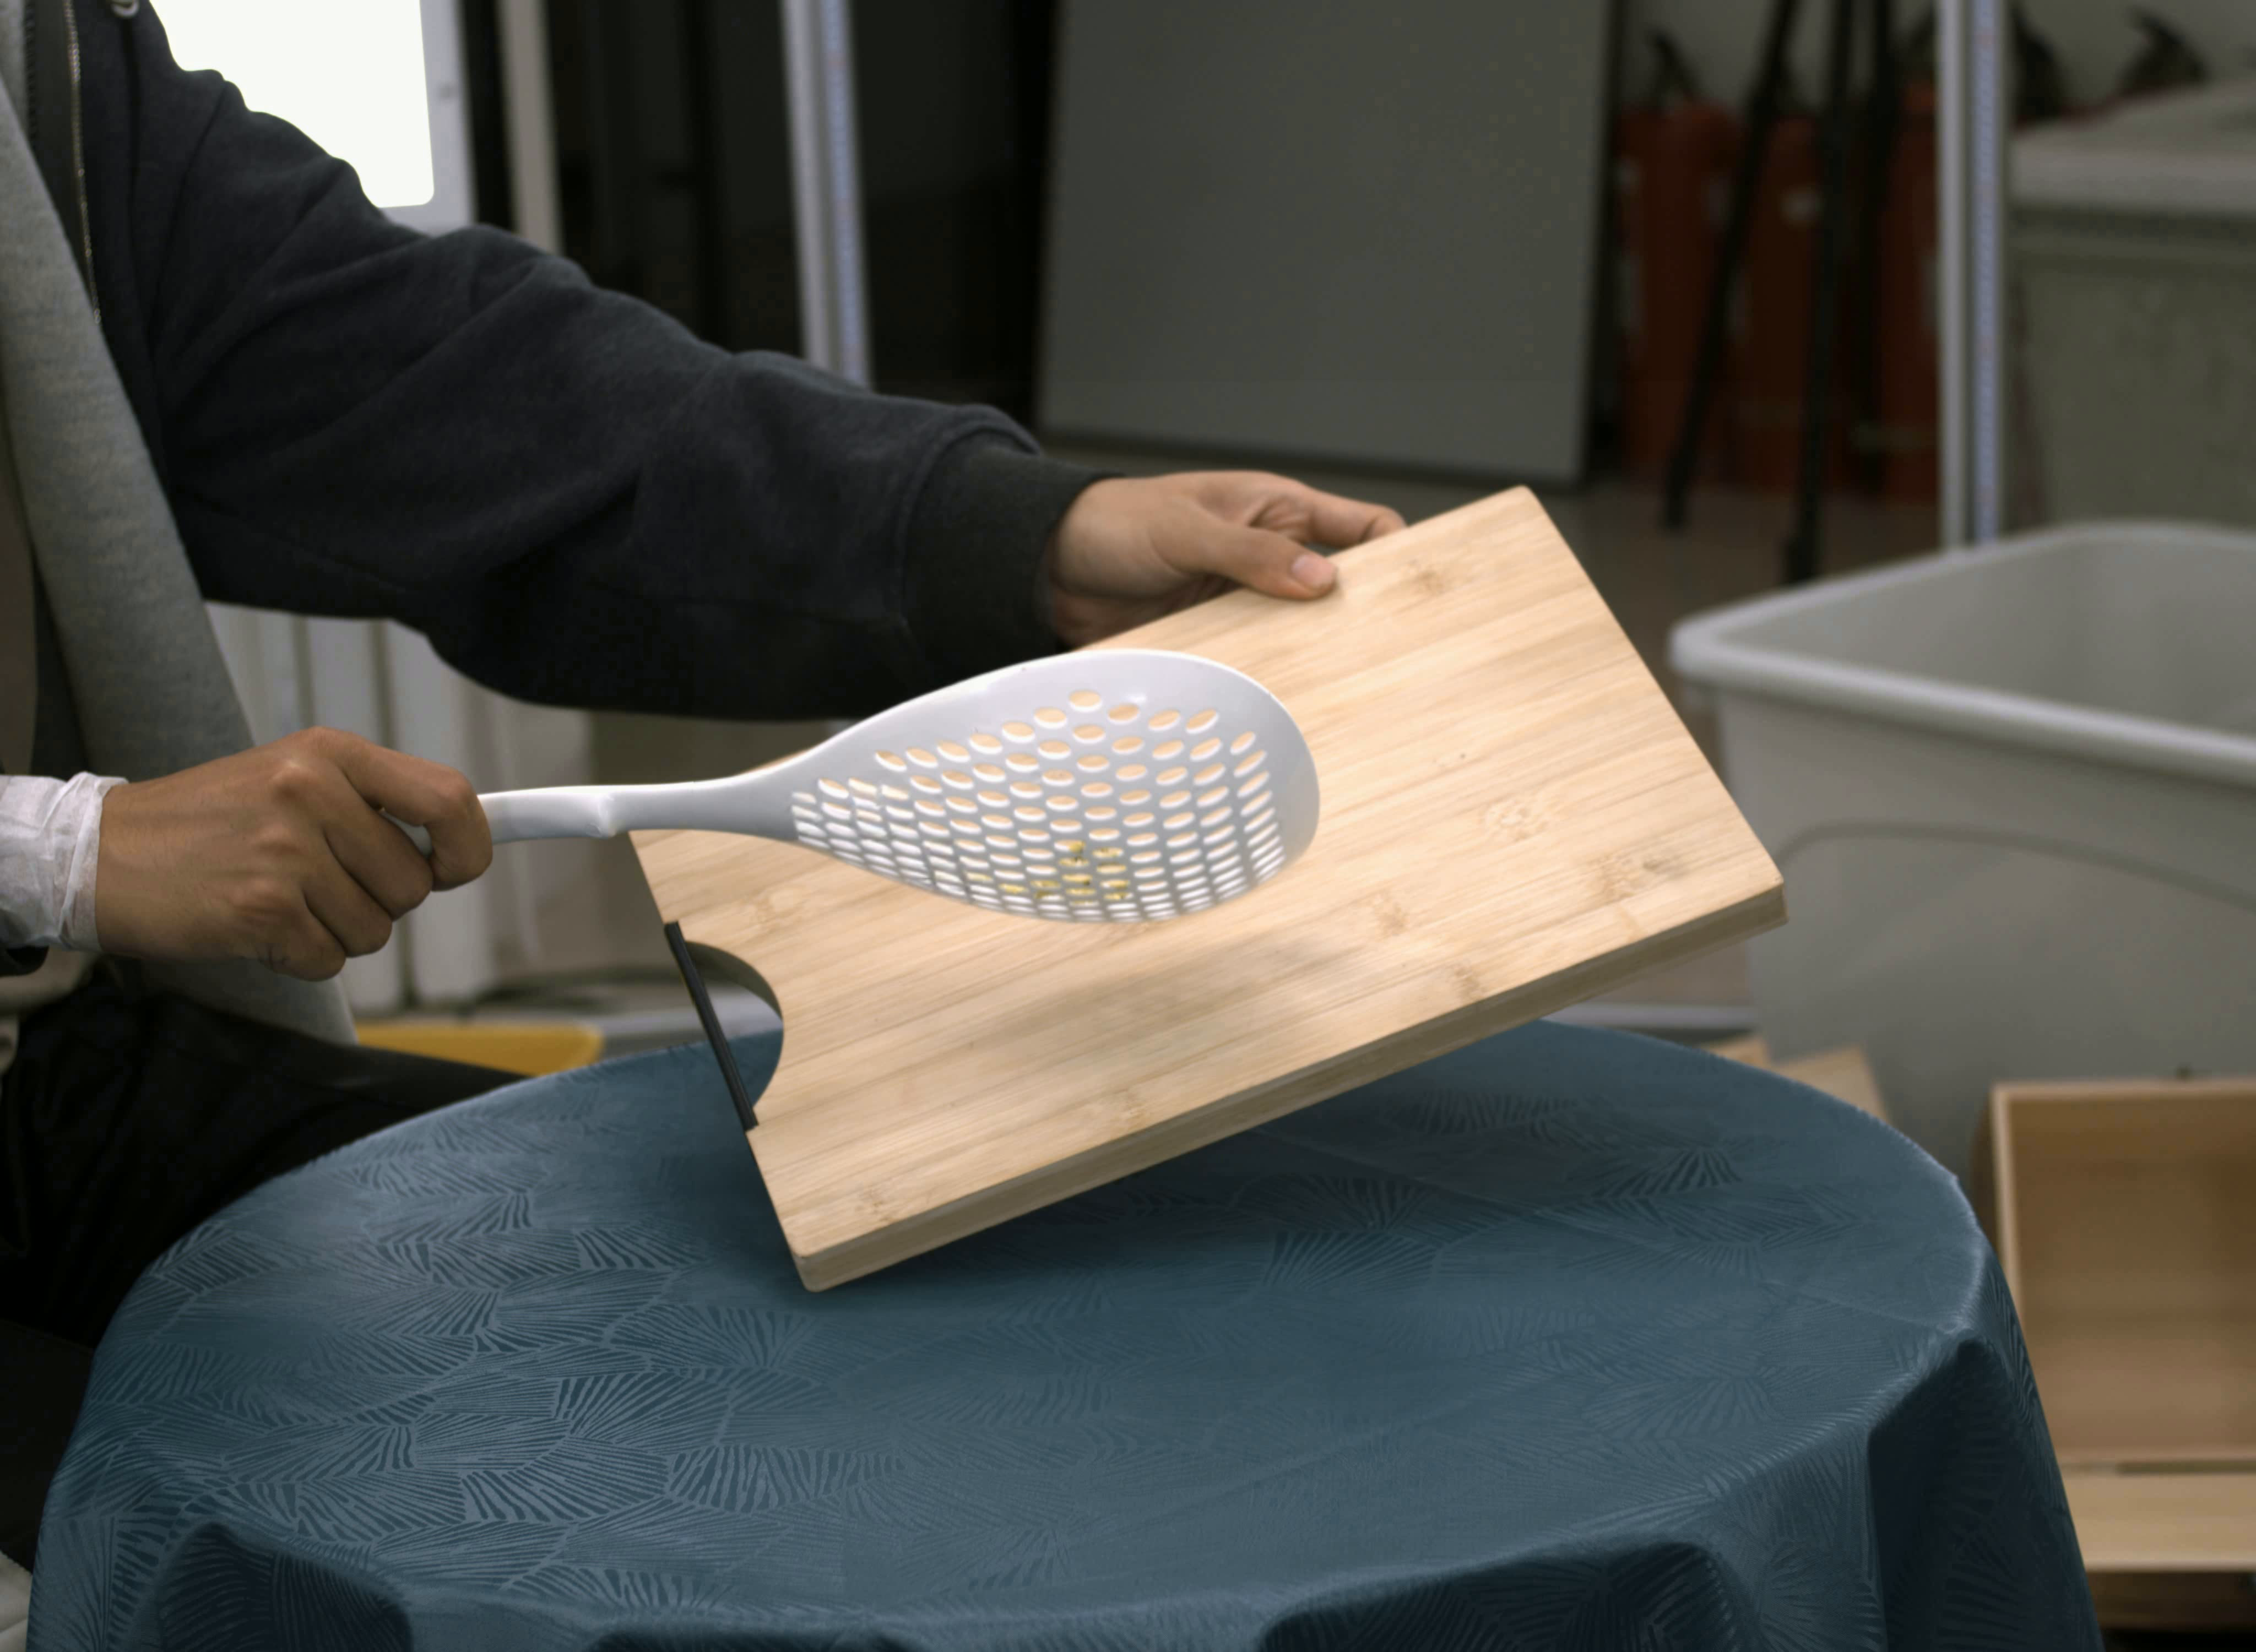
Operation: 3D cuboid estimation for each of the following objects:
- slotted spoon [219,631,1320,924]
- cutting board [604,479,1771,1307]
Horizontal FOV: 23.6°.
[{"bbox_3d":[-0.112,-0.002,1.695,0.345,0.137,0.051,1,53,9],"label":"slotted spoon"},{"bbox_3d":[0.015,0.016,1.790,0.344,0.023,0.253,-22,39,-5],"label":"cutting board"}]
